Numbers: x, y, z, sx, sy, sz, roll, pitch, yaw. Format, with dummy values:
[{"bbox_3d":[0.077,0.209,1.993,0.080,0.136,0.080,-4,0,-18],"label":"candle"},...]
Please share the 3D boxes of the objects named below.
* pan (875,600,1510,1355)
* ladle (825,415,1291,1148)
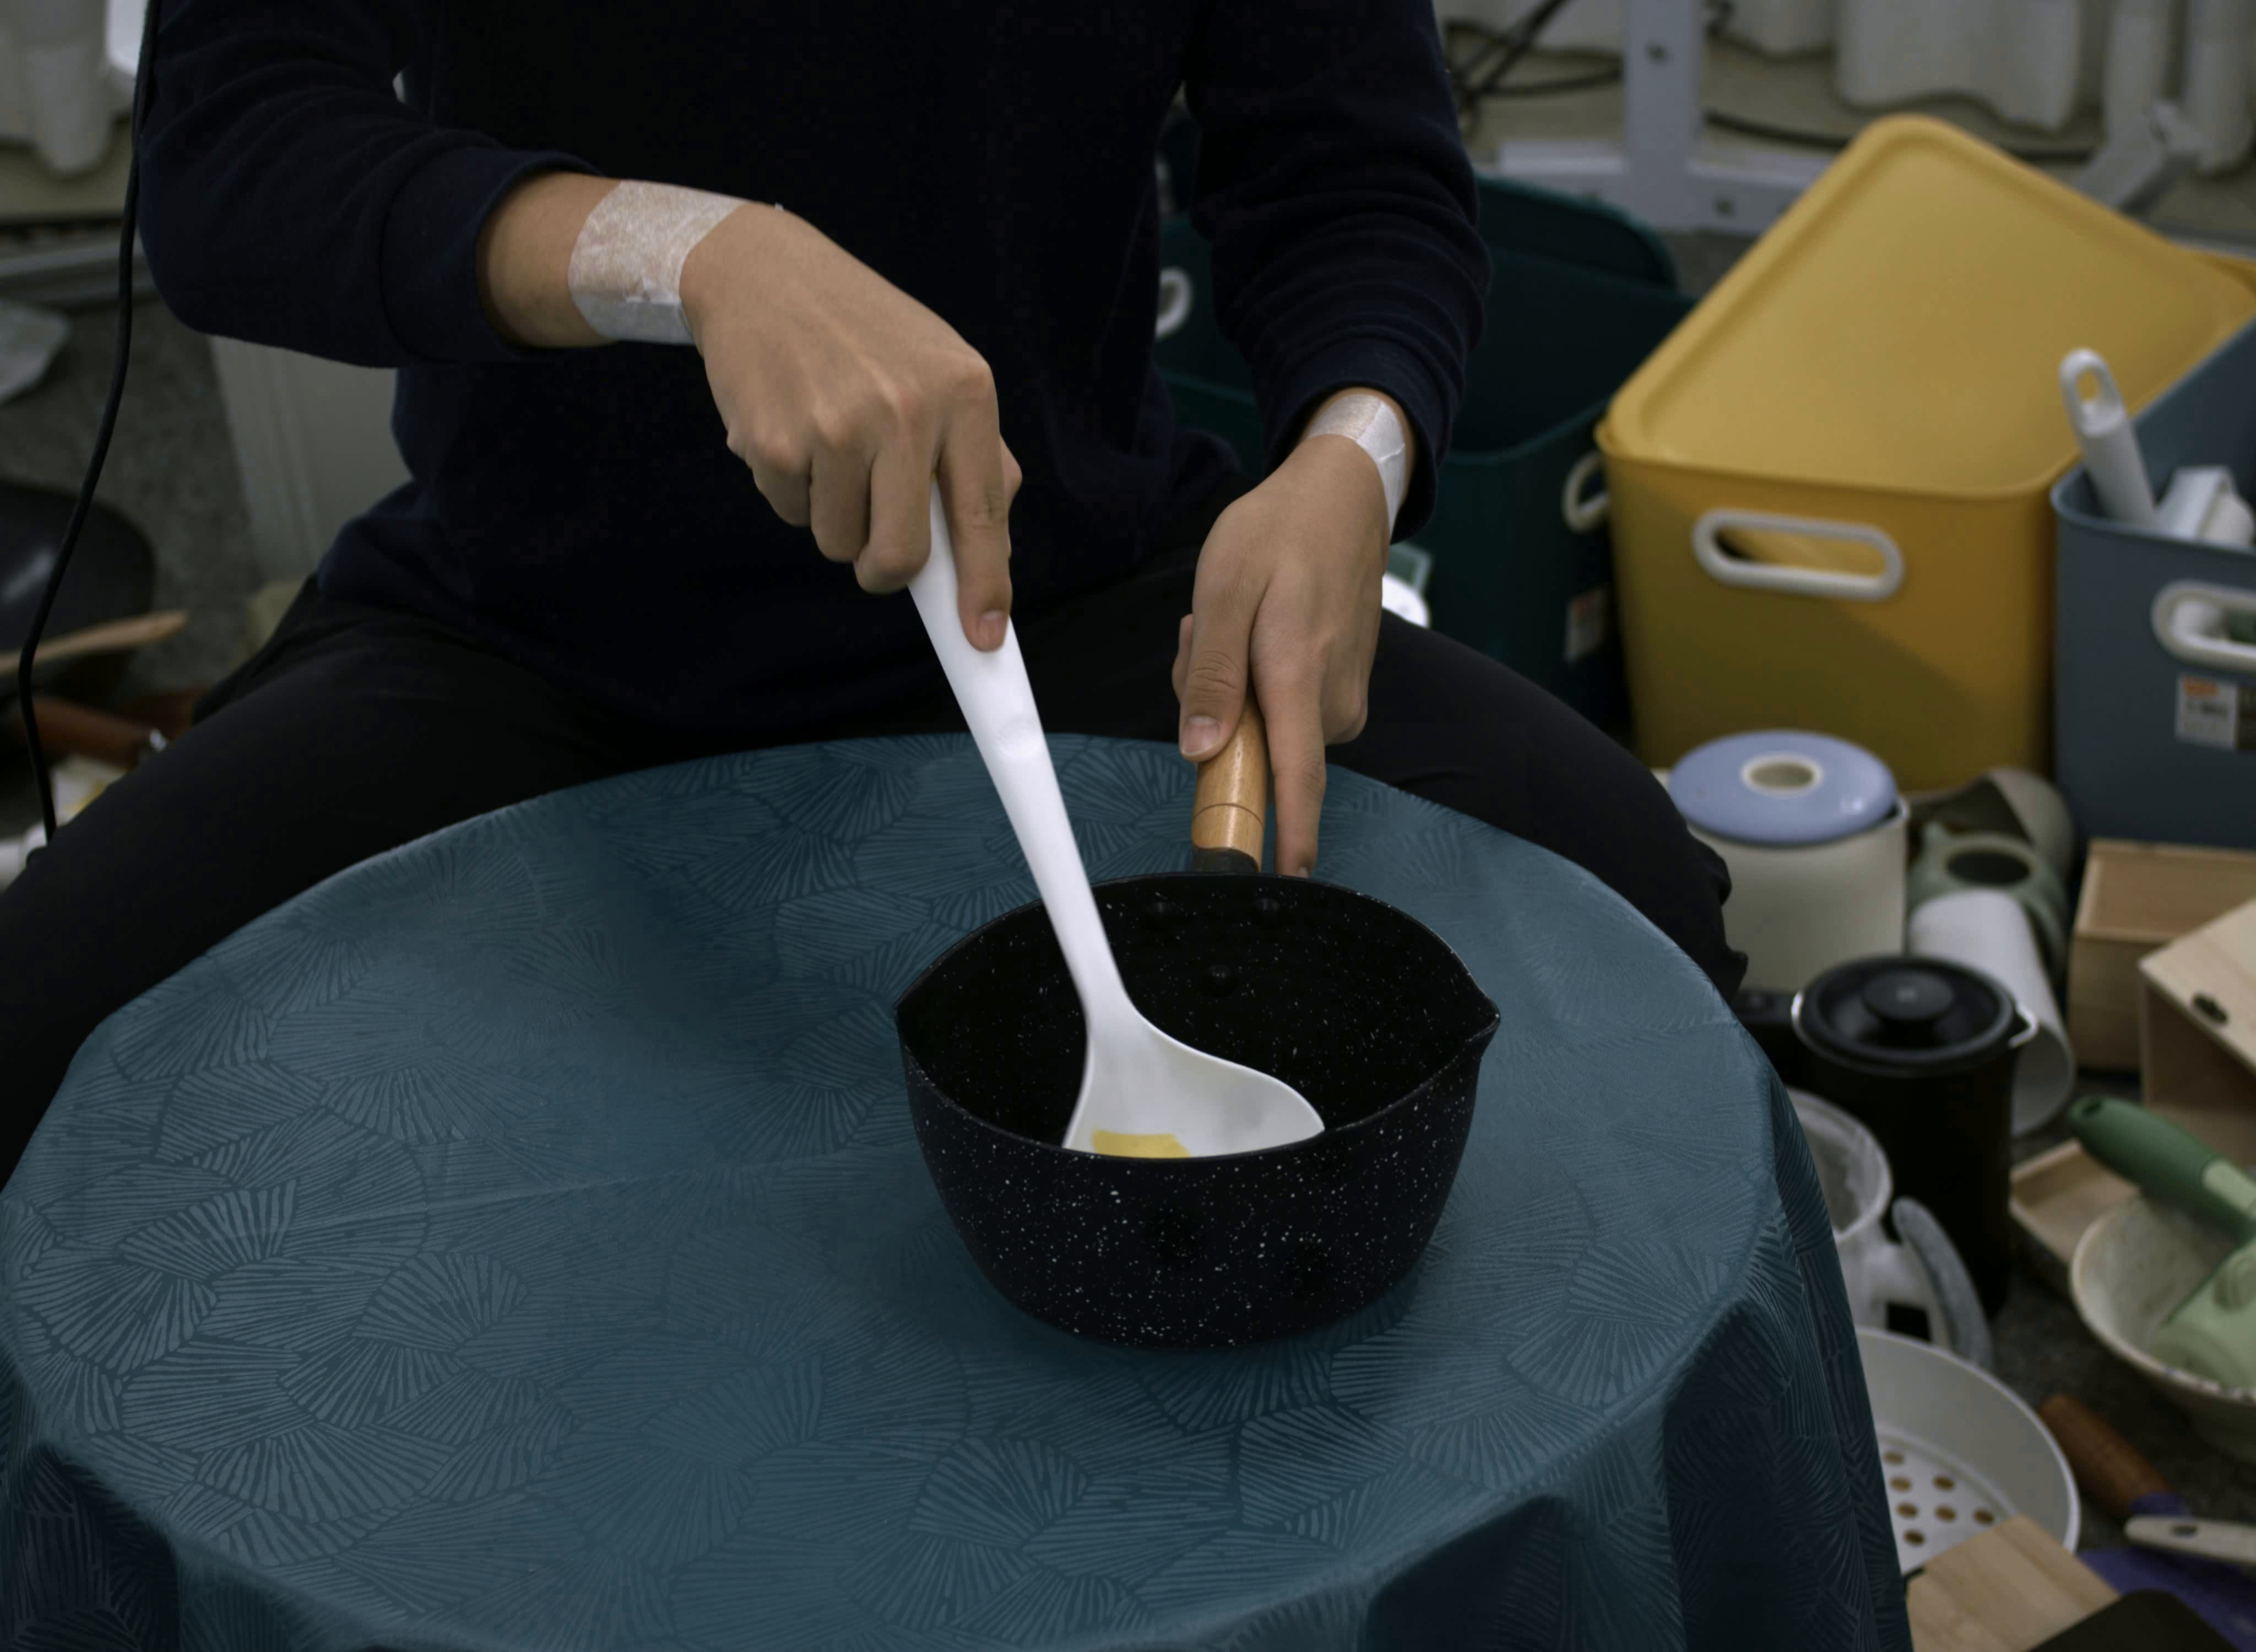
[{"bbox_3d":[0.027,0.047,1.887,0.206,0.107,0.348,-1,29,5],"label":"pan"},{"bbox_3d":[-0.031,0.004,1.828,0.090,0.294,0.069,-20,-3,-10],"label":"ladle"}]
